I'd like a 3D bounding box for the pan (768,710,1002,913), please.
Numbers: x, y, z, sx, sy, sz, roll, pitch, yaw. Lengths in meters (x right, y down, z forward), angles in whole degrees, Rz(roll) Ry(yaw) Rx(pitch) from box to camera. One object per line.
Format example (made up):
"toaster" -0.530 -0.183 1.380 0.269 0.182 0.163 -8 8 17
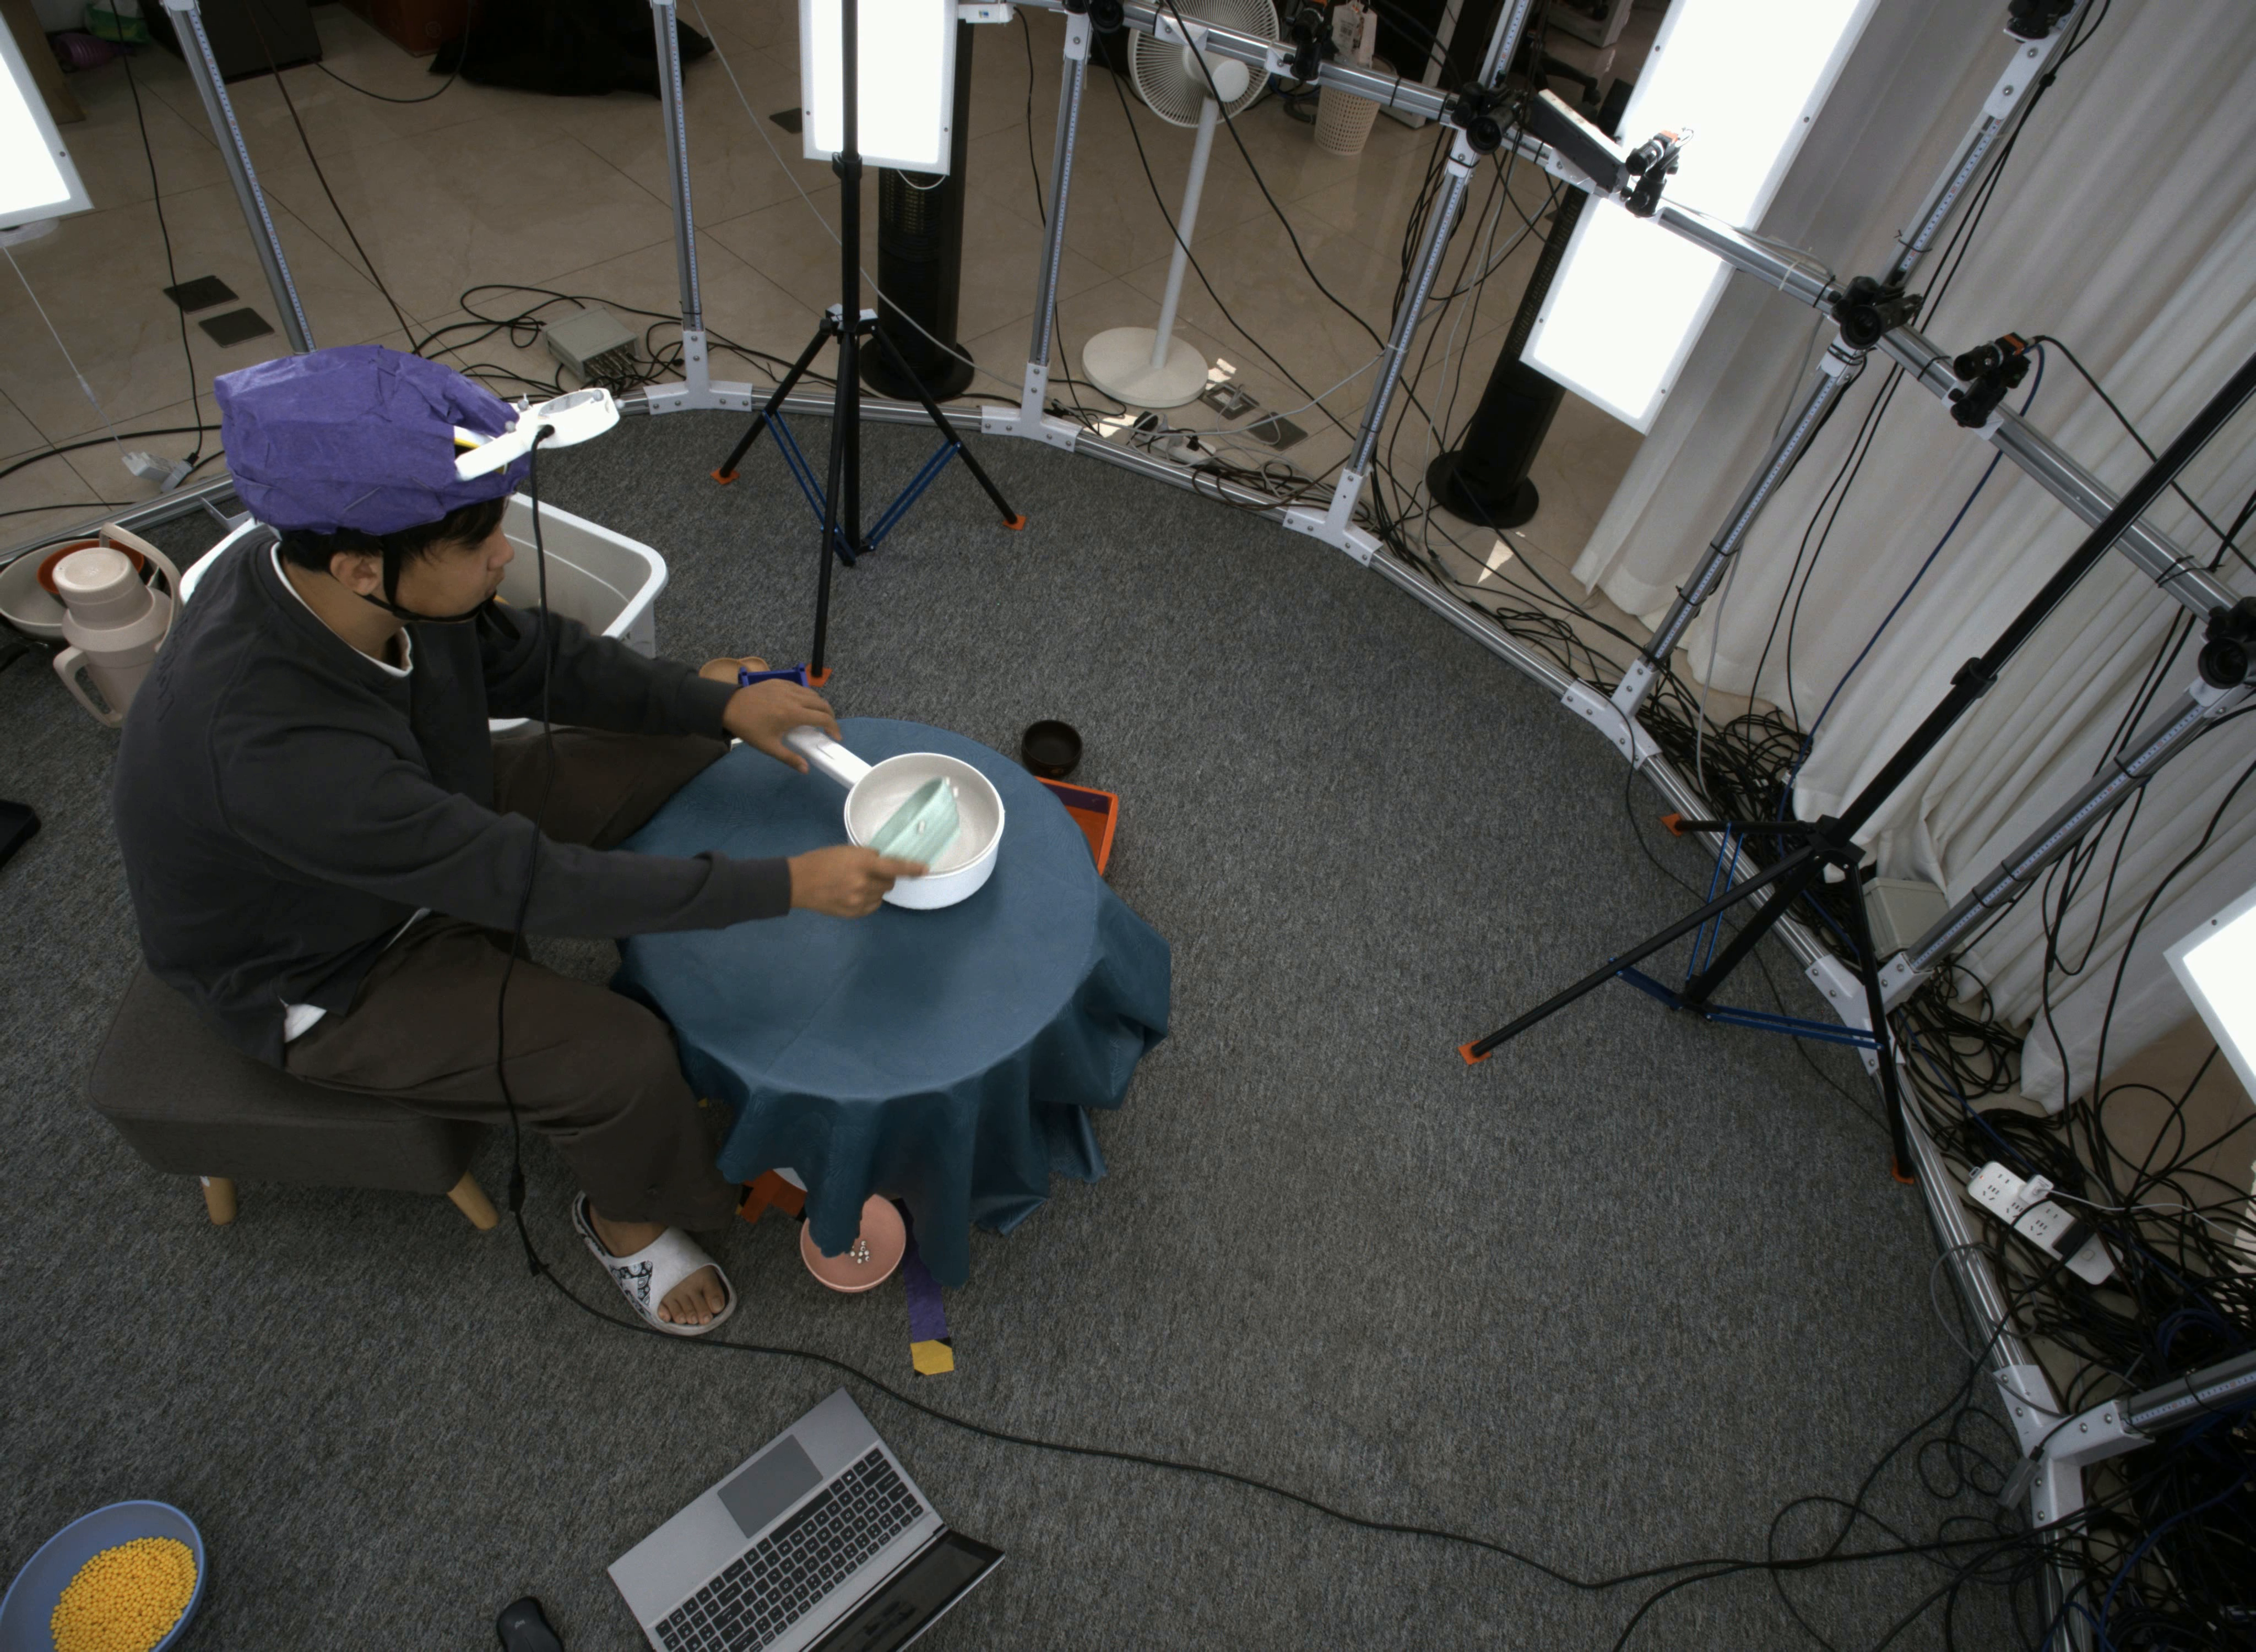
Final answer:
"pan" -0.327 -0.026 1.707 0.348 0.104 0.201 32 56 12

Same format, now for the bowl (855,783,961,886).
"bowl" -0.248 0.018 1.520 0.060 0.148 0.150 47 50 -17
